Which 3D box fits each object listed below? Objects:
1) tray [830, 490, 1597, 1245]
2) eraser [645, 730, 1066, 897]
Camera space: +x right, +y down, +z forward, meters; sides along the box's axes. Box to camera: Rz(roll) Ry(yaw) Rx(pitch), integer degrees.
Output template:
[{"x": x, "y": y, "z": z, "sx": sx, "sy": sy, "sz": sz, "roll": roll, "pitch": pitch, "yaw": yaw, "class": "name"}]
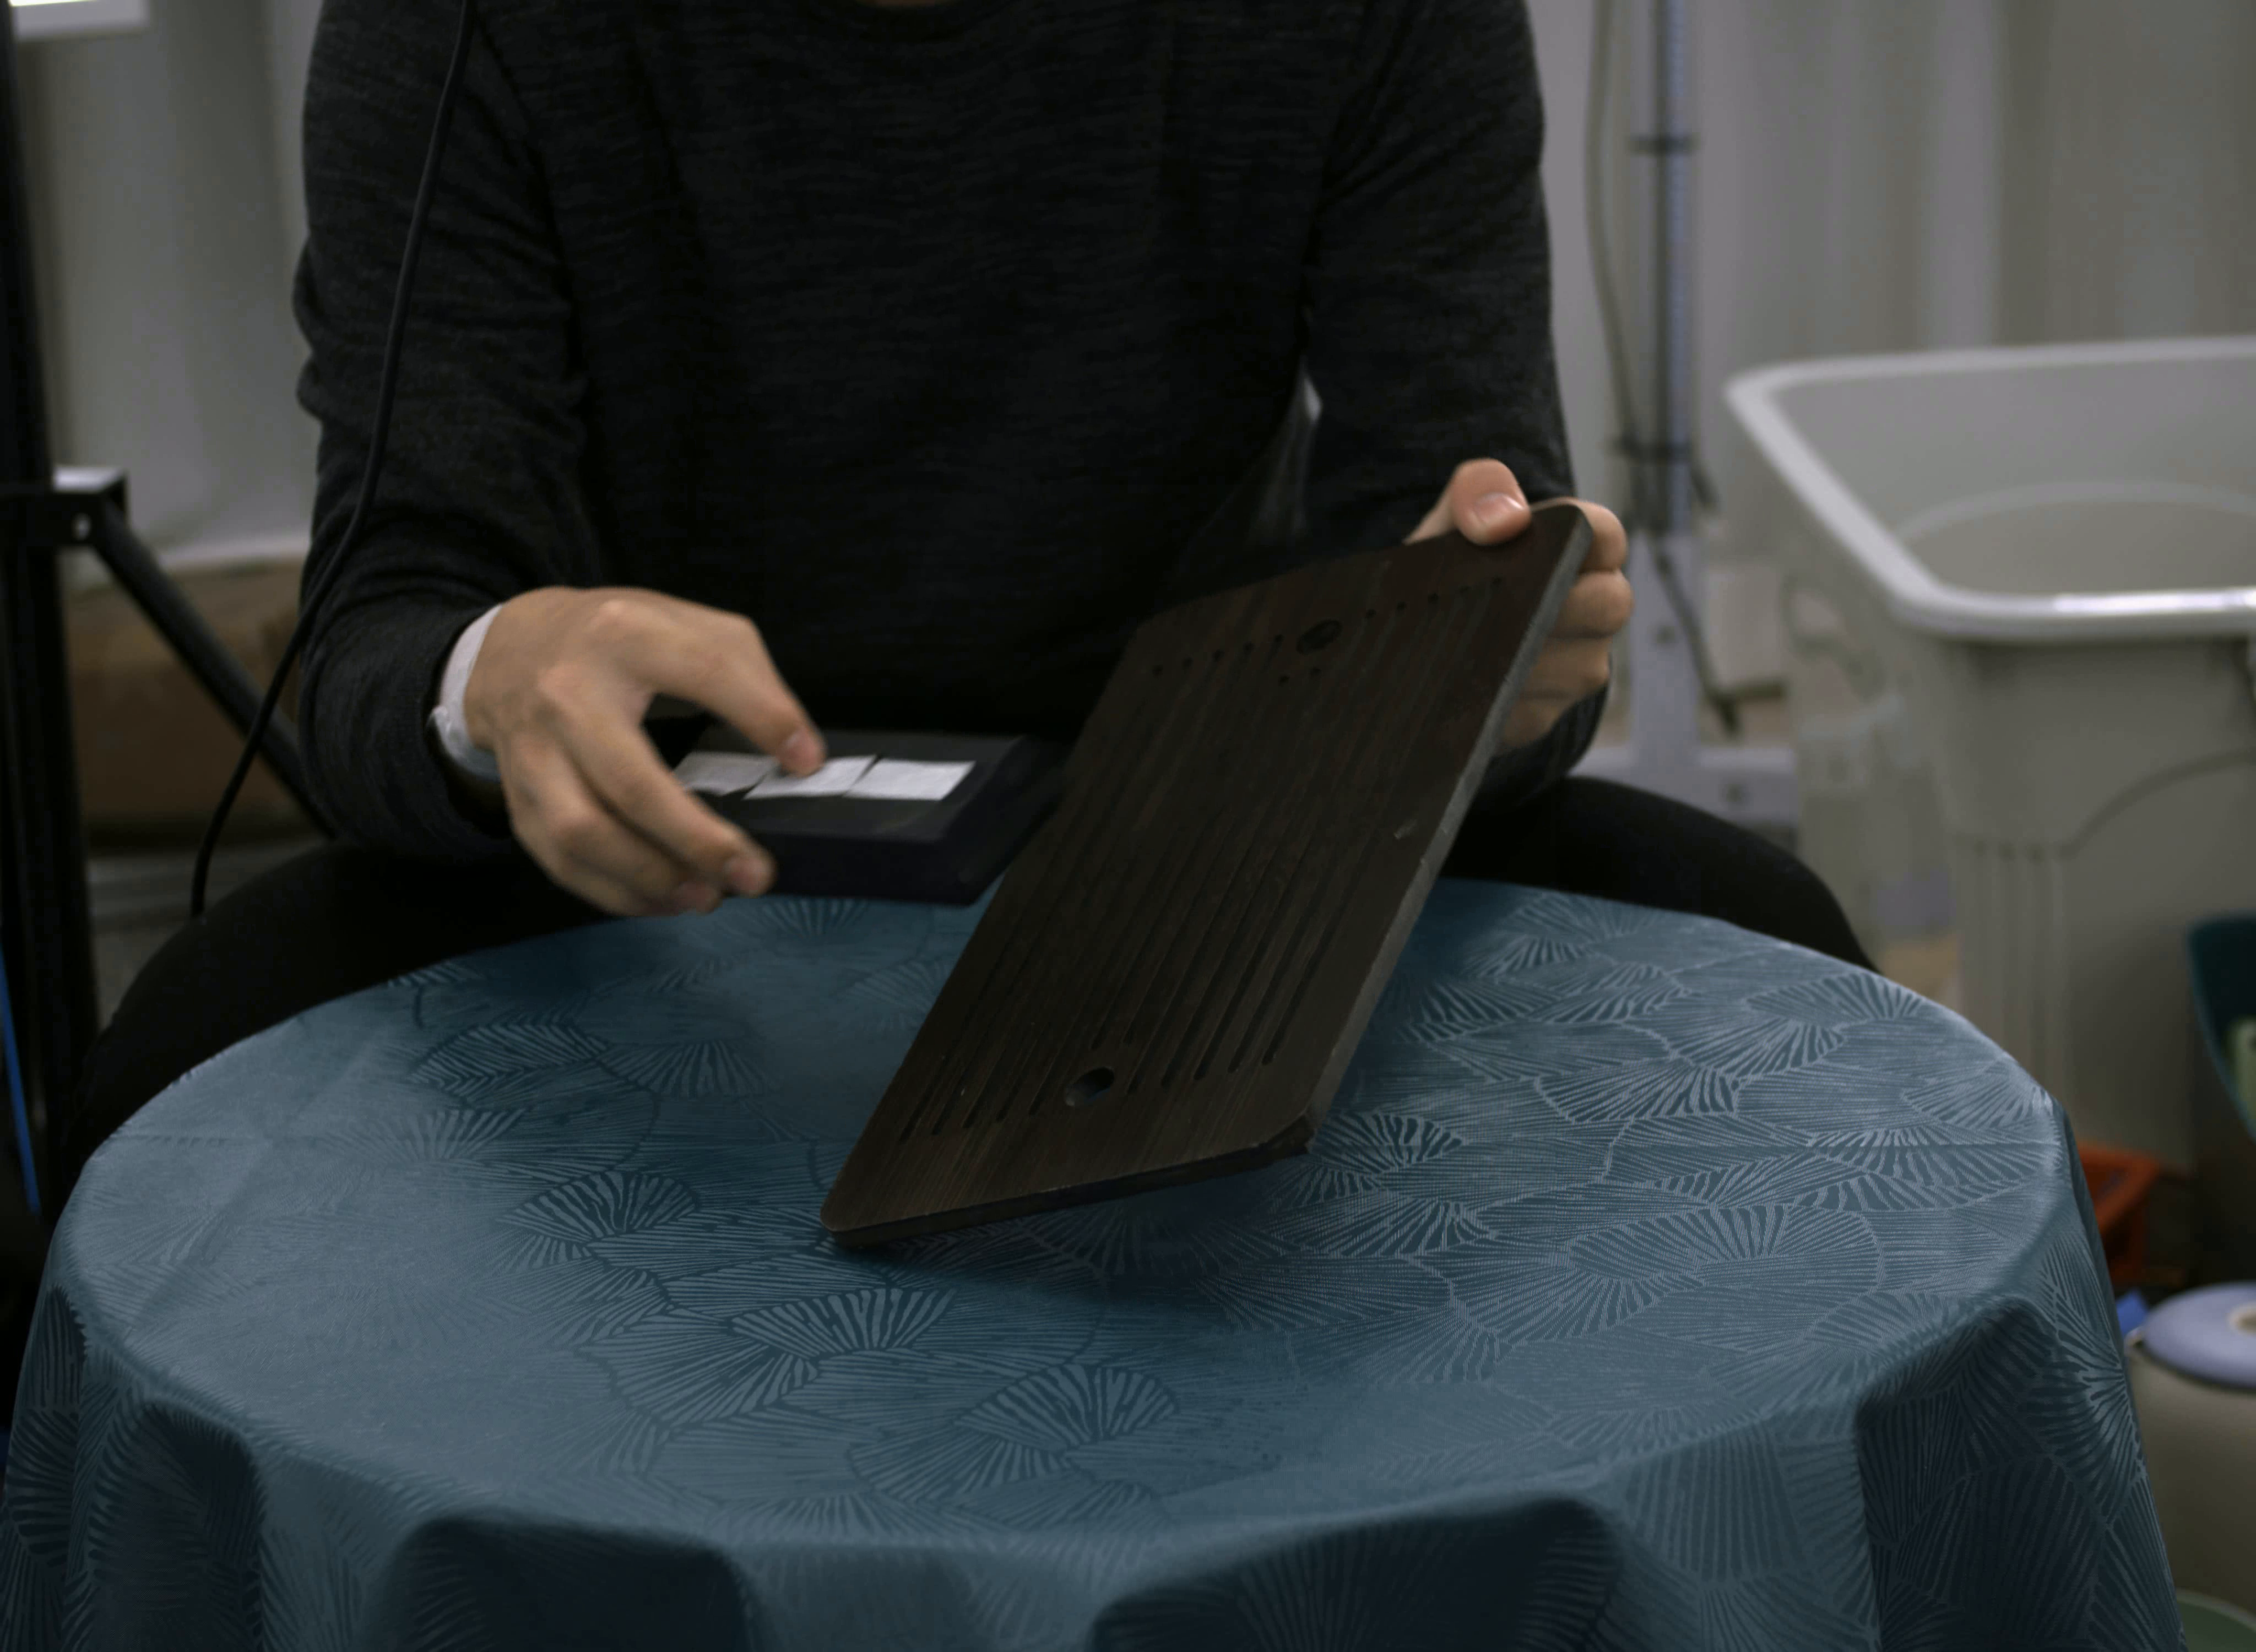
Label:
[{"x": 0.032, "y": 0.011, "z": 1.578, "sx": 0.173, "sy": 0.018, "sz": 0.305, "roll": -15, "pitch": 31, "yaw": 34, "class": "tray"}, {"x": -0.081, "y": -0.005, "z": 1.598, "sx": 0.128, "sy": 0.030, "sz": 0.053, "roll": 0, "pitch": 37, "yaw": 37, "class": "eraser"}]
